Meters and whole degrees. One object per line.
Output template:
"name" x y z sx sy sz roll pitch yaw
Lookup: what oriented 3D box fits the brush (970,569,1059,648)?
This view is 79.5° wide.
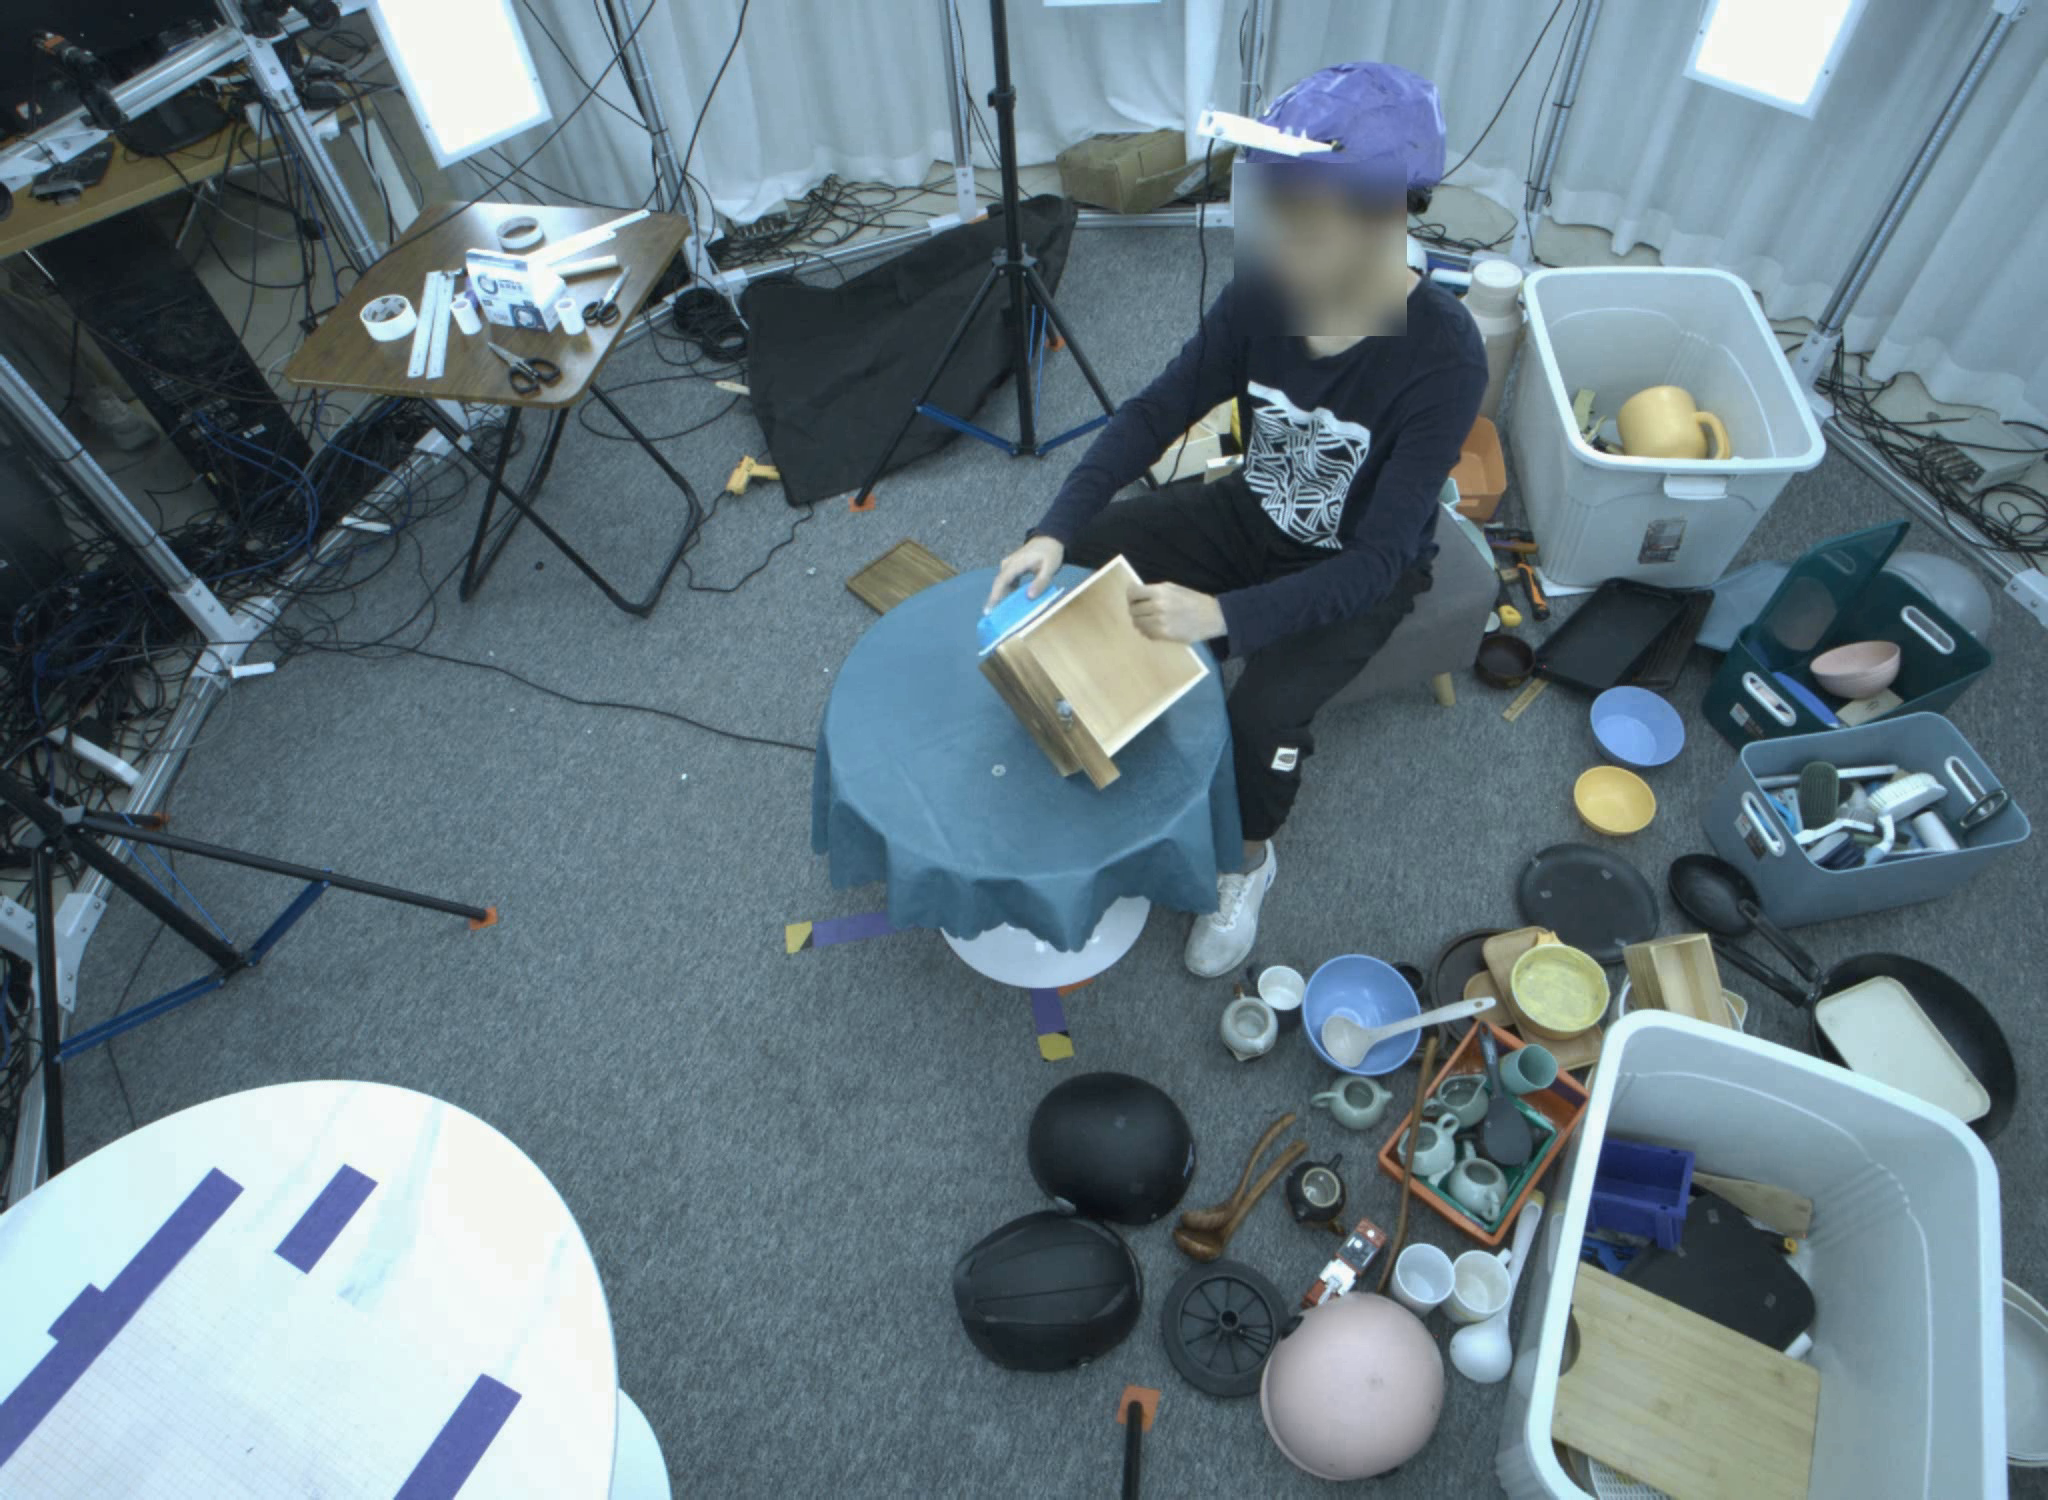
"brush" -0.019 -0.199 1.682 0.056 0.082 0.145 51 58 -10

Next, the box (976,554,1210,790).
"box" 0.087 -0.096 1.591 0.324 0.371 0.209 -40 95 -20
